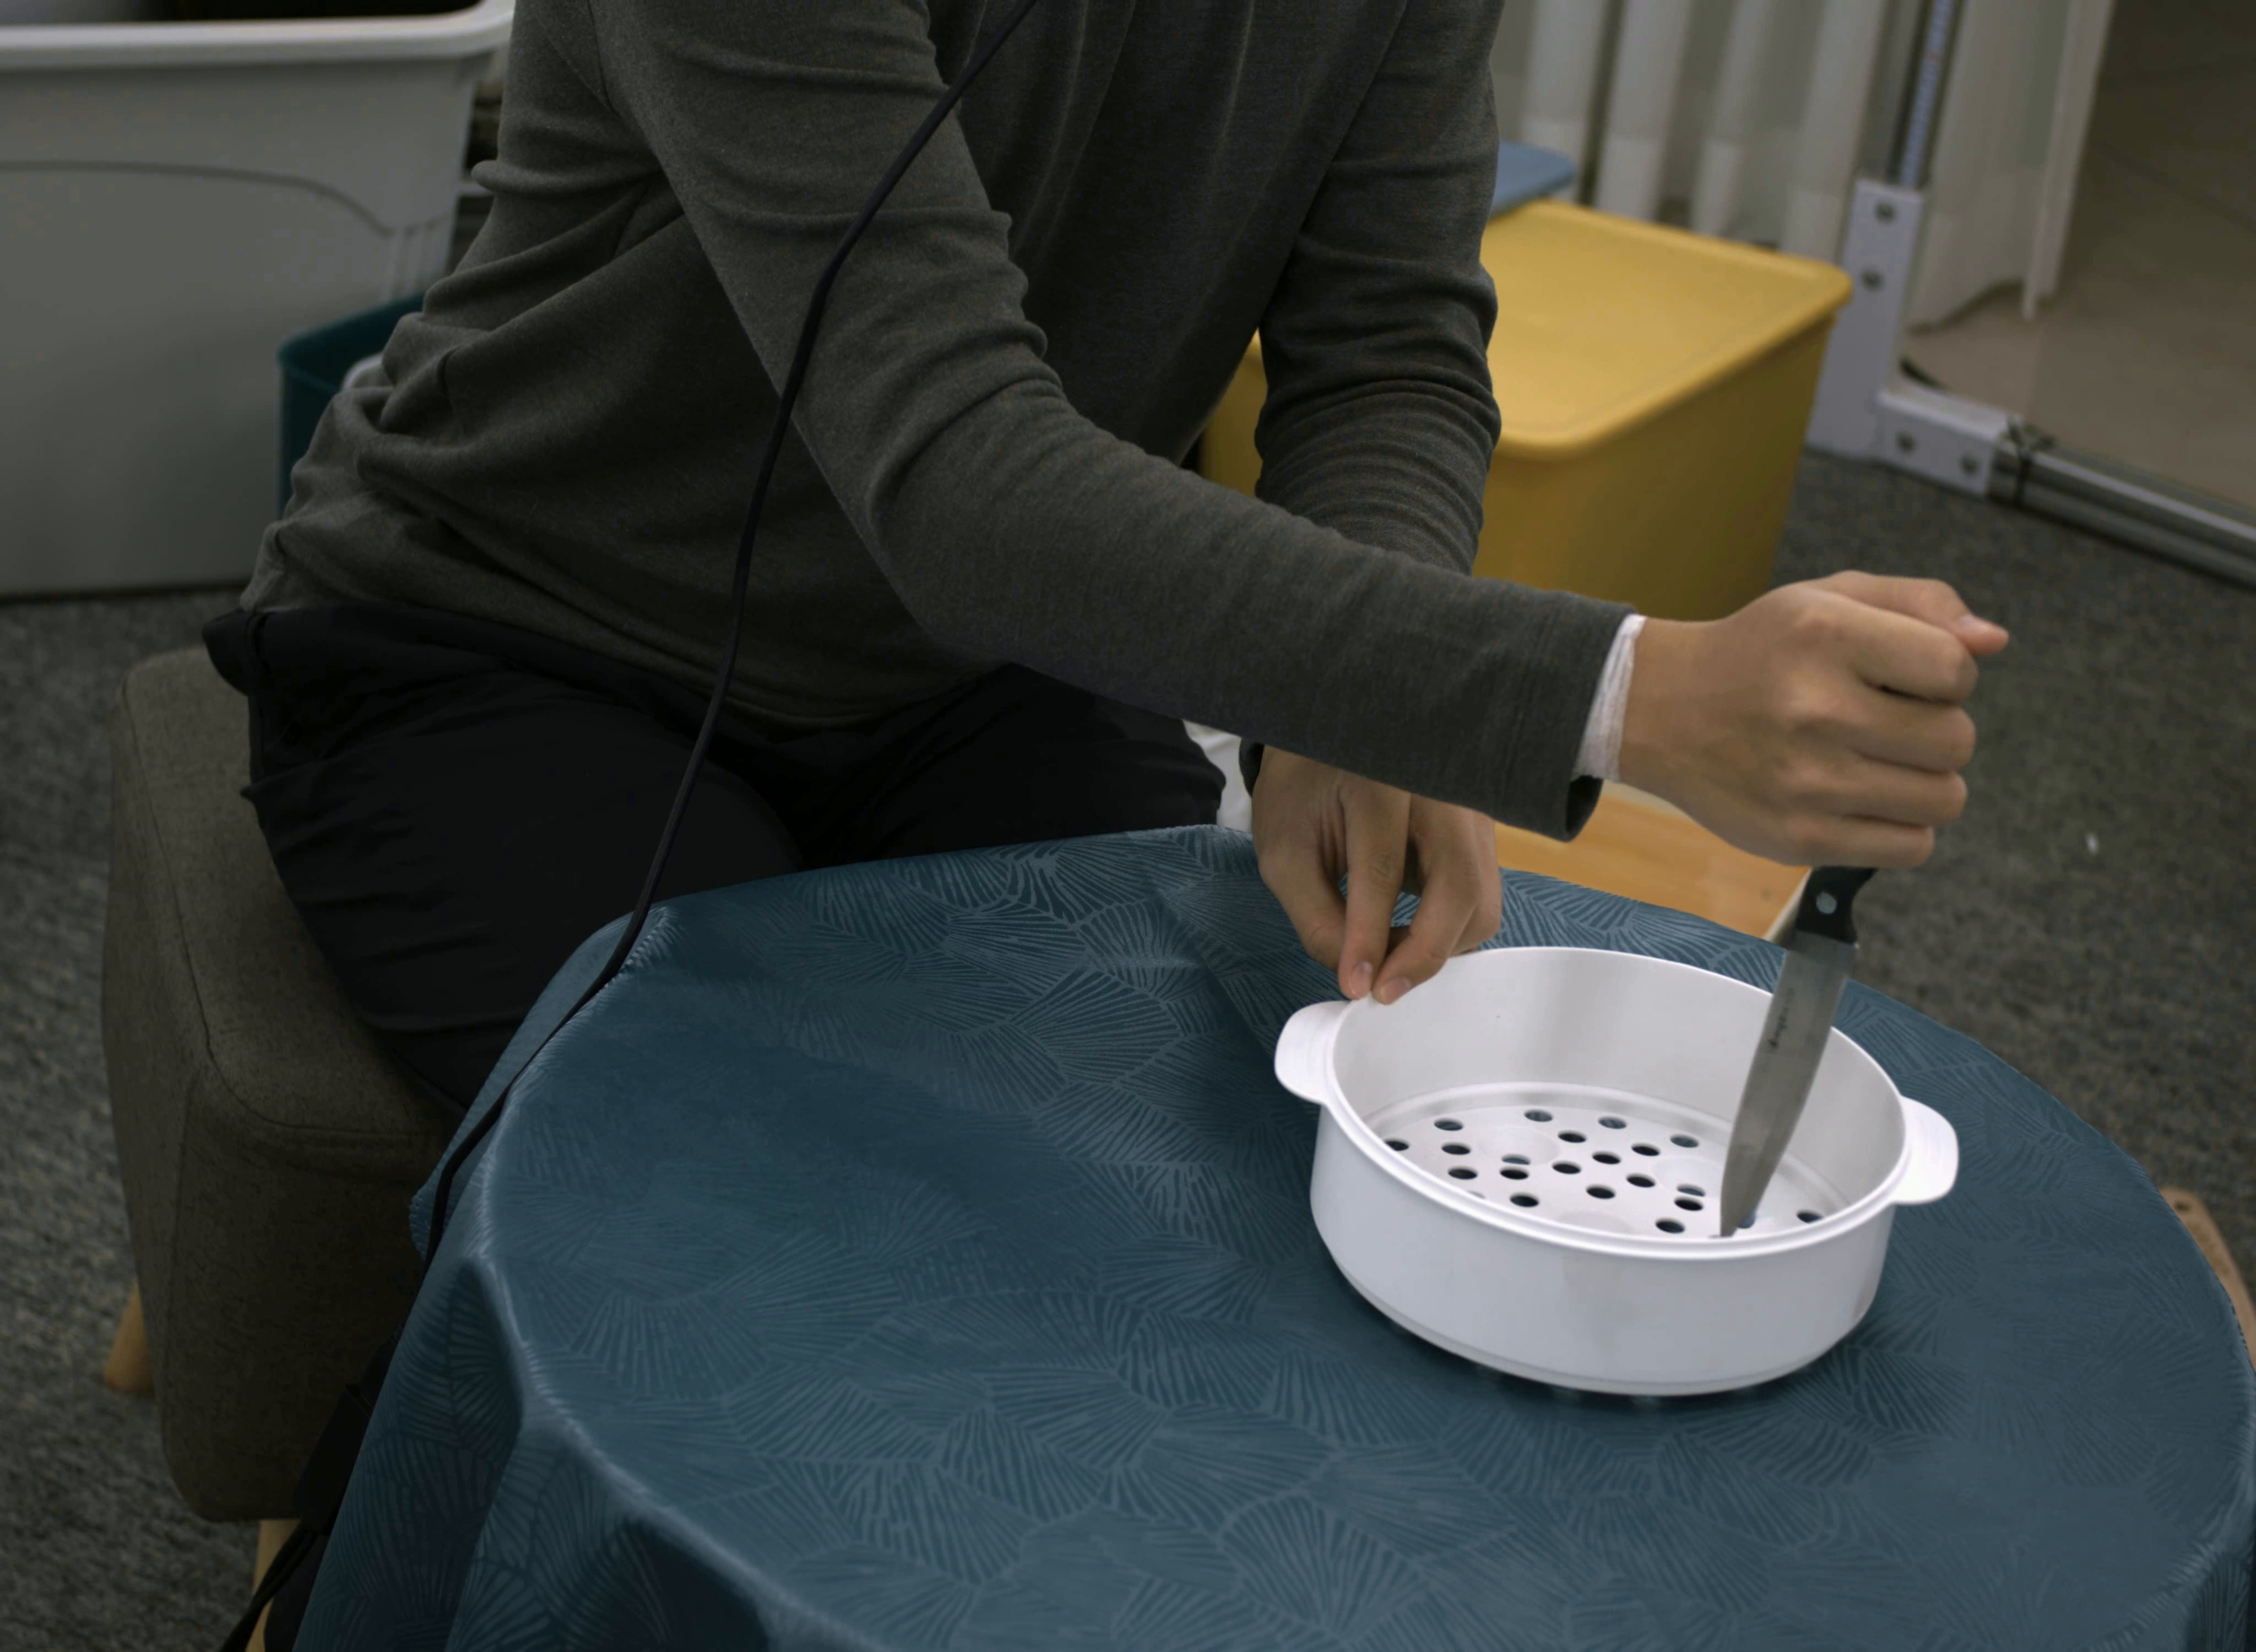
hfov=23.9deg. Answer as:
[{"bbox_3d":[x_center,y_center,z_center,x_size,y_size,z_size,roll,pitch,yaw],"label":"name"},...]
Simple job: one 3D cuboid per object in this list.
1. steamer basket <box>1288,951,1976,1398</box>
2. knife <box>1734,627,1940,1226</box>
[{"bbox_3d":[0.165,0.116,1.782,0.230,0.069,0.202,9,26,7],"label":"steamer basket"},{"bbox_3d":[0.224,0.039,1.730,0.024,0.237,0.016,19,29,13],"label":"knife"}]
